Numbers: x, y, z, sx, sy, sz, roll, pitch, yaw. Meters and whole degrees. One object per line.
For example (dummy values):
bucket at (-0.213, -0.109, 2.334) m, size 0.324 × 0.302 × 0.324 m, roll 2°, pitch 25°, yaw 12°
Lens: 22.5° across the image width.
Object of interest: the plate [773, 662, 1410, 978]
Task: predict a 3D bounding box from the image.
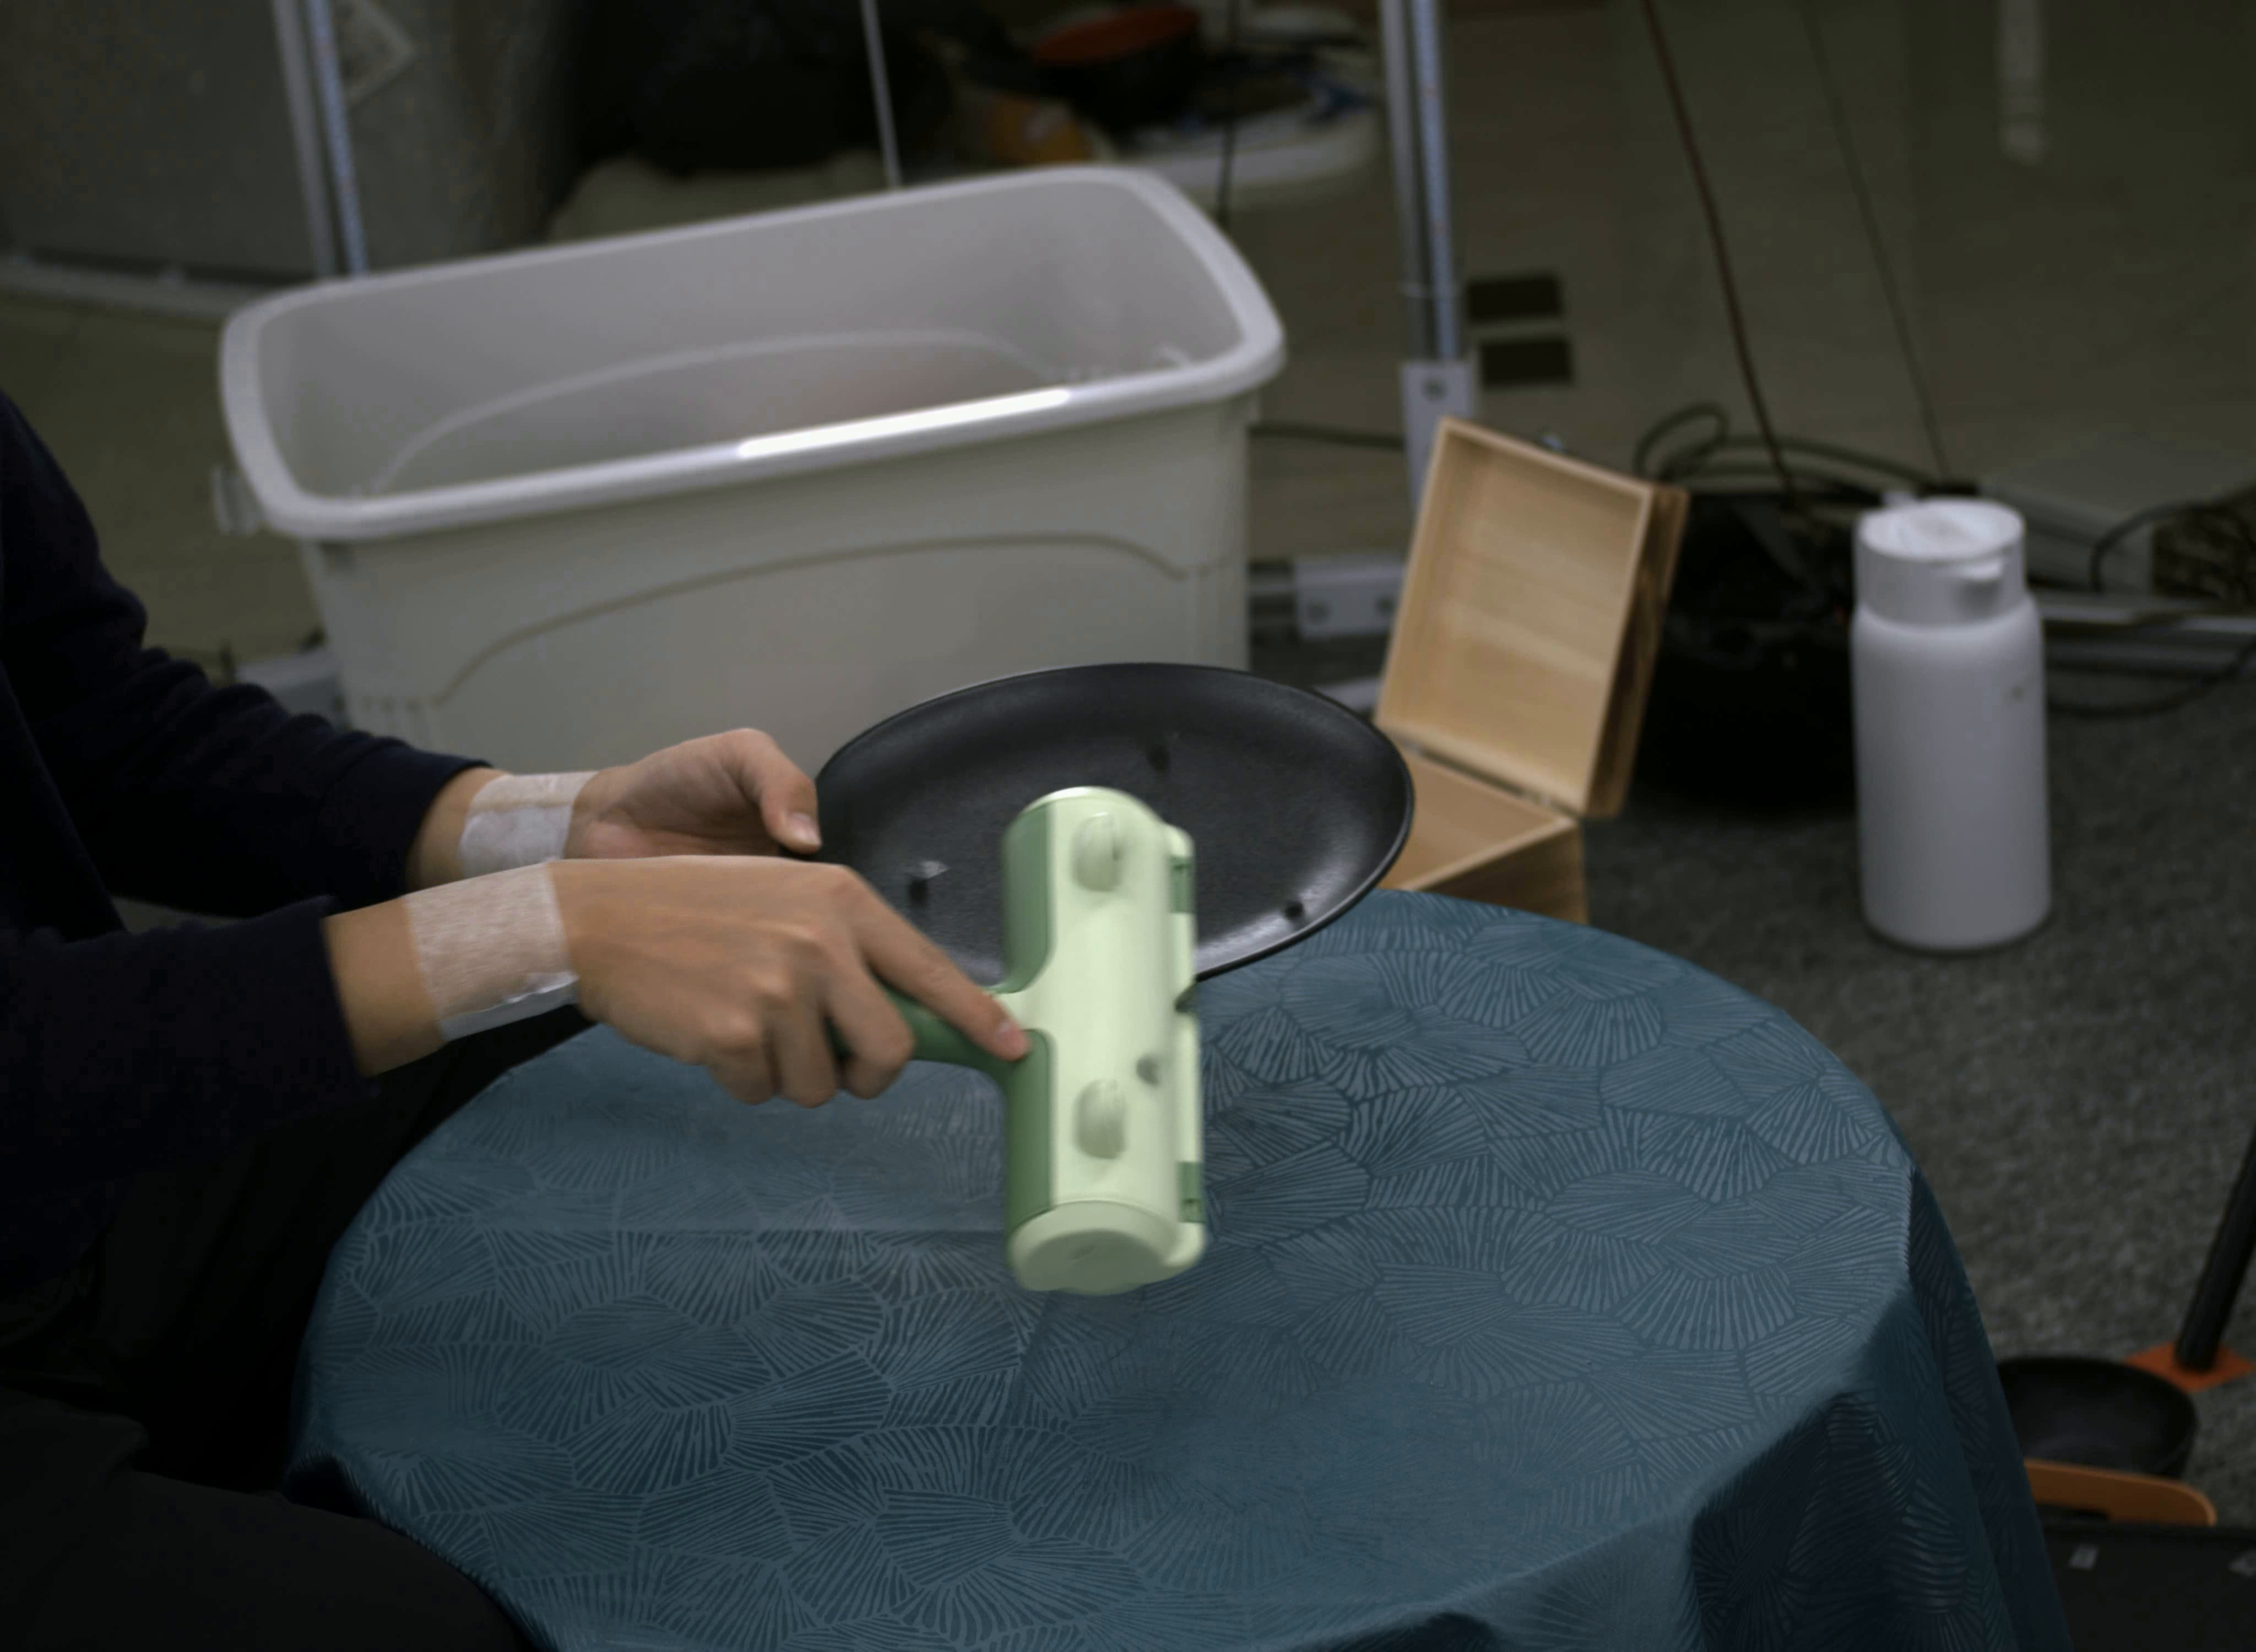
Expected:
plate at (-0.013, 0.006, 2.149) m, size 0.244 × 0.024 × 0.240 m, roll -5°, pitch 31°, yaw 3°

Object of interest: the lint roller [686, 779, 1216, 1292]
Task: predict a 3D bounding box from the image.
lint roller at (-0.057, 0.055, 1.974) m, size 0.184 × 0.083 × 0.195 m, roll 14°, pitch 50°, yaw -20°
